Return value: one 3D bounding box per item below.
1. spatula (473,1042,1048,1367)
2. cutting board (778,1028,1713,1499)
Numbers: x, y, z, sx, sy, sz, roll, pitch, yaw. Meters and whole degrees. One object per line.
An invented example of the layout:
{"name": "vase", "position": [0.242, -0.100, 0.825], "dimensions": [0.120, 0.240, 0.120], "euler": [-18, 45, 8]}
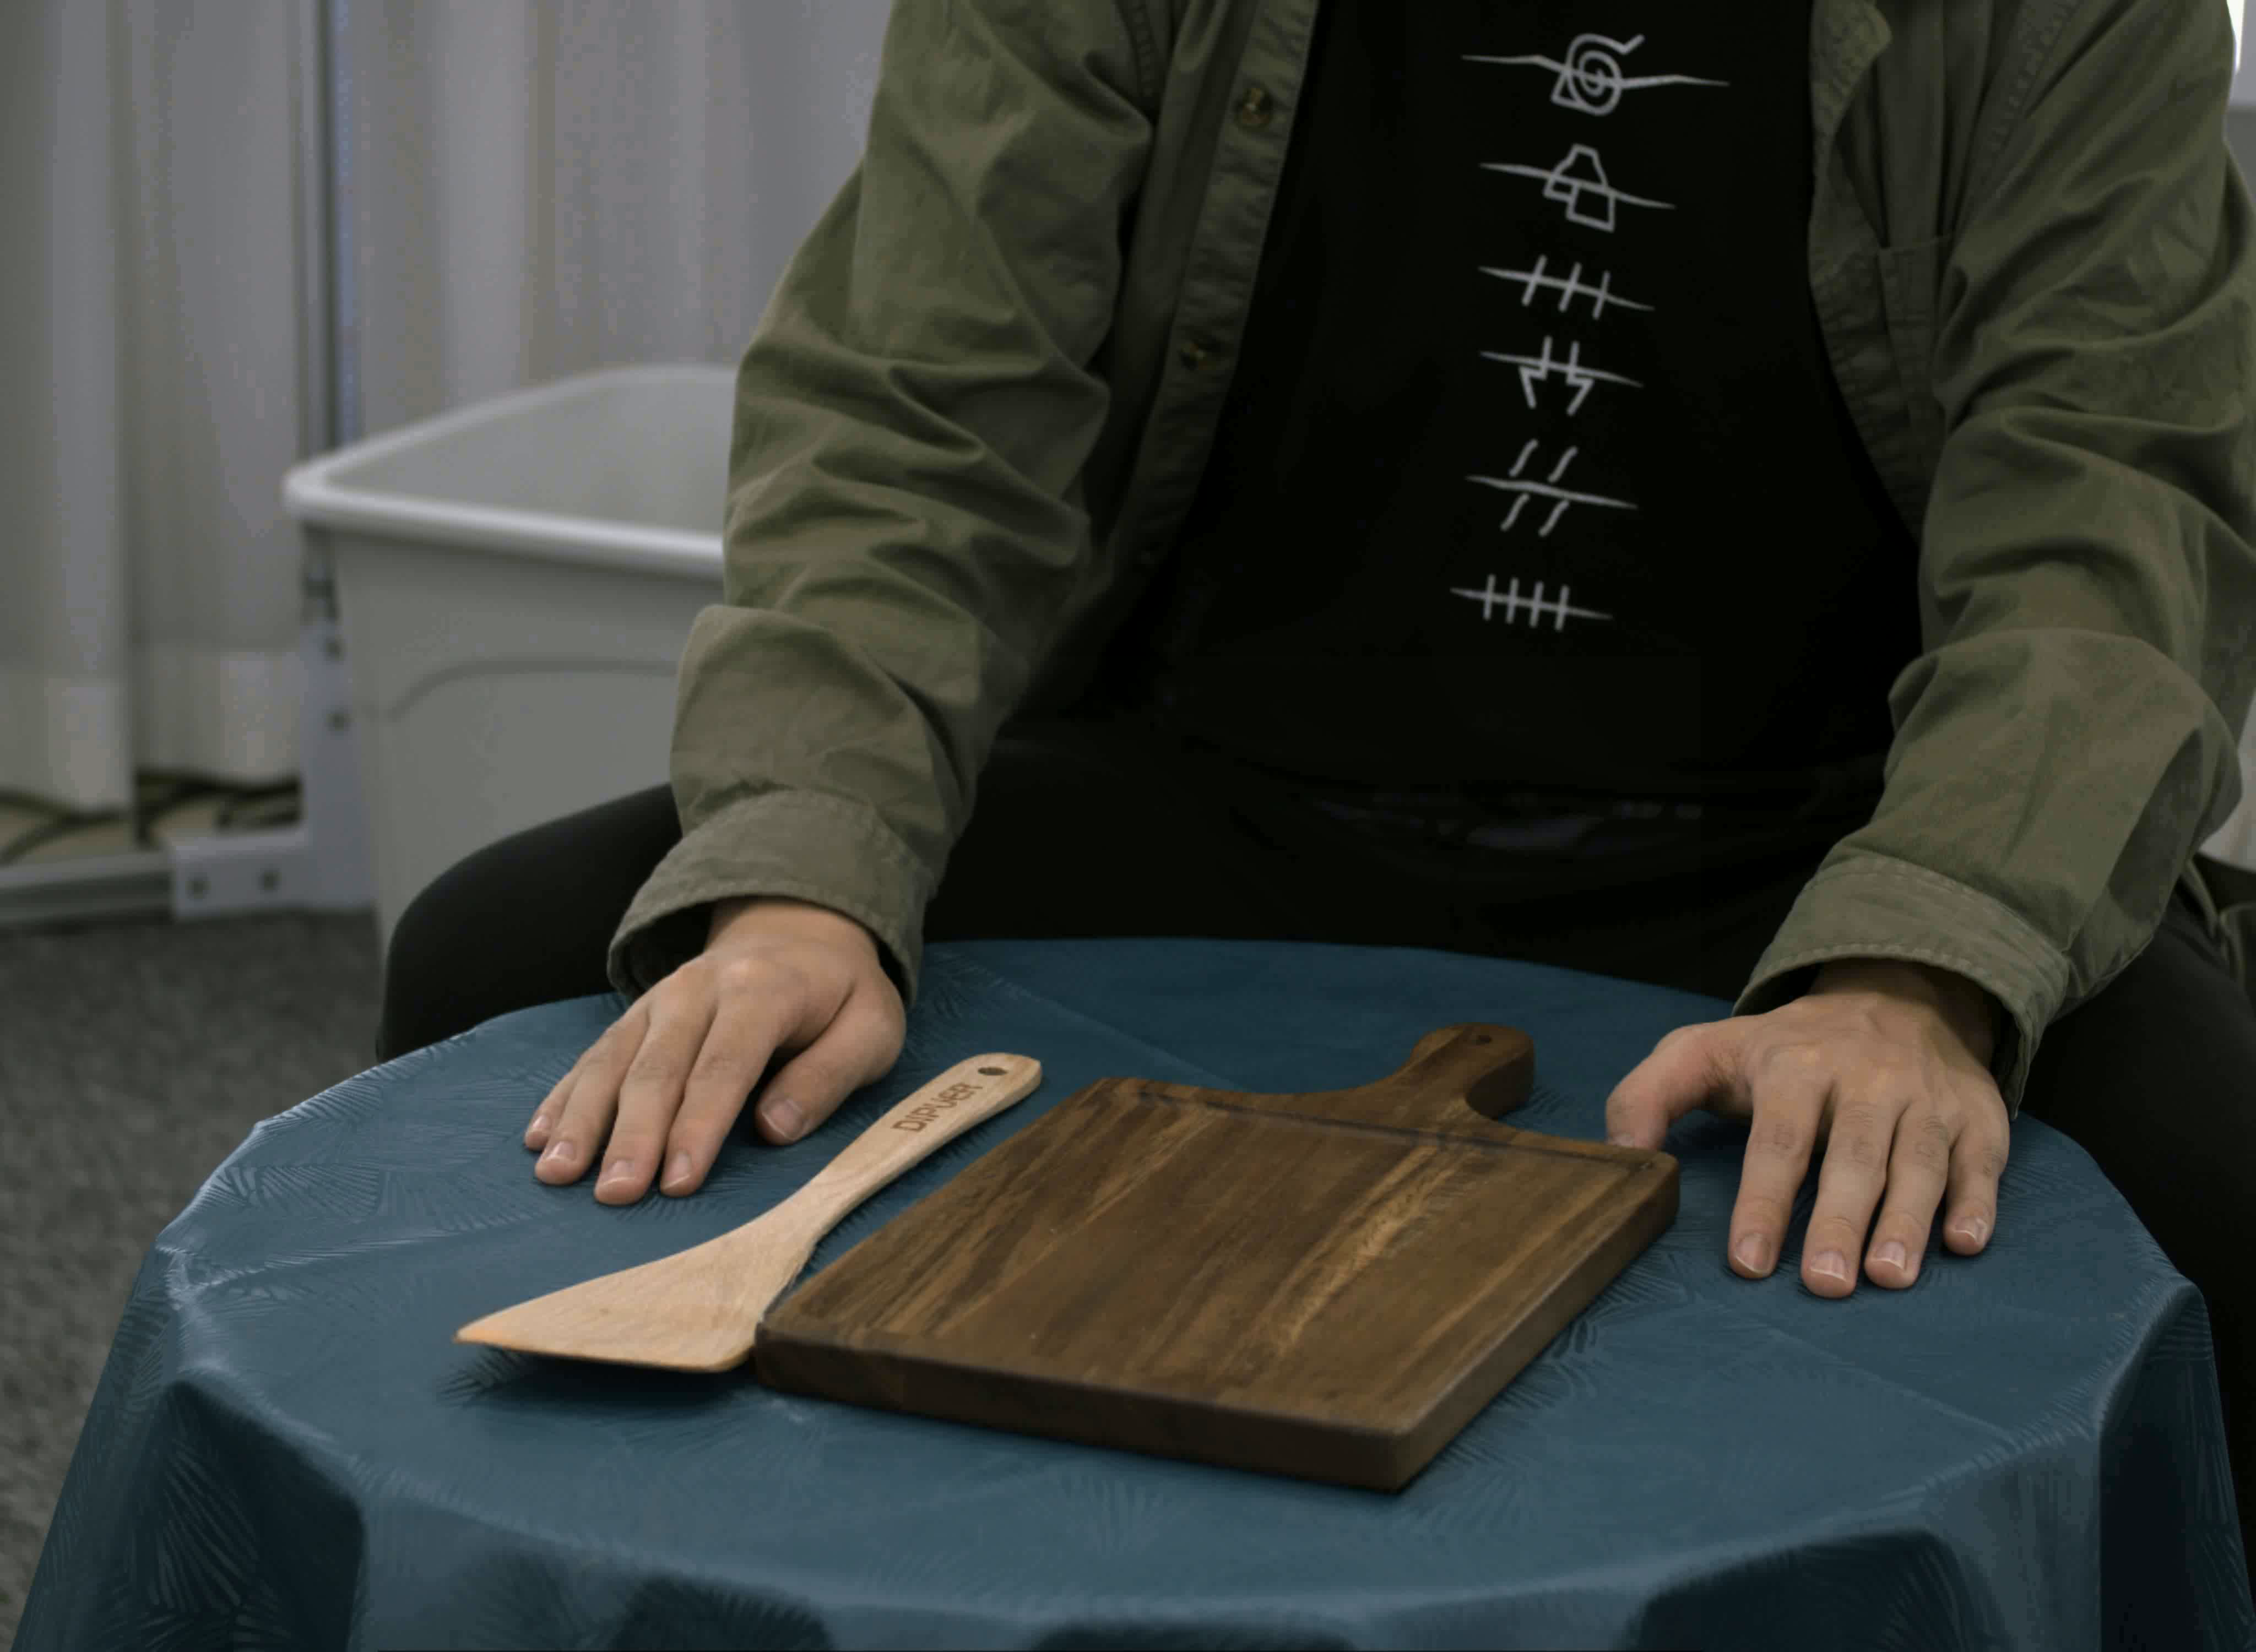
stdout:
{"name": "spatula", "position": [-0.092, 0.111, 1.599], "dimensions": [0.079, 0.016, 0.328], "euler": [7, 17, 20]}
{"name": "cutting board", "position": [0.061, 0.117, 1.573], "dimensions": [0.199, 0.023, 0.353], "euler": [8, 17, 23]}
